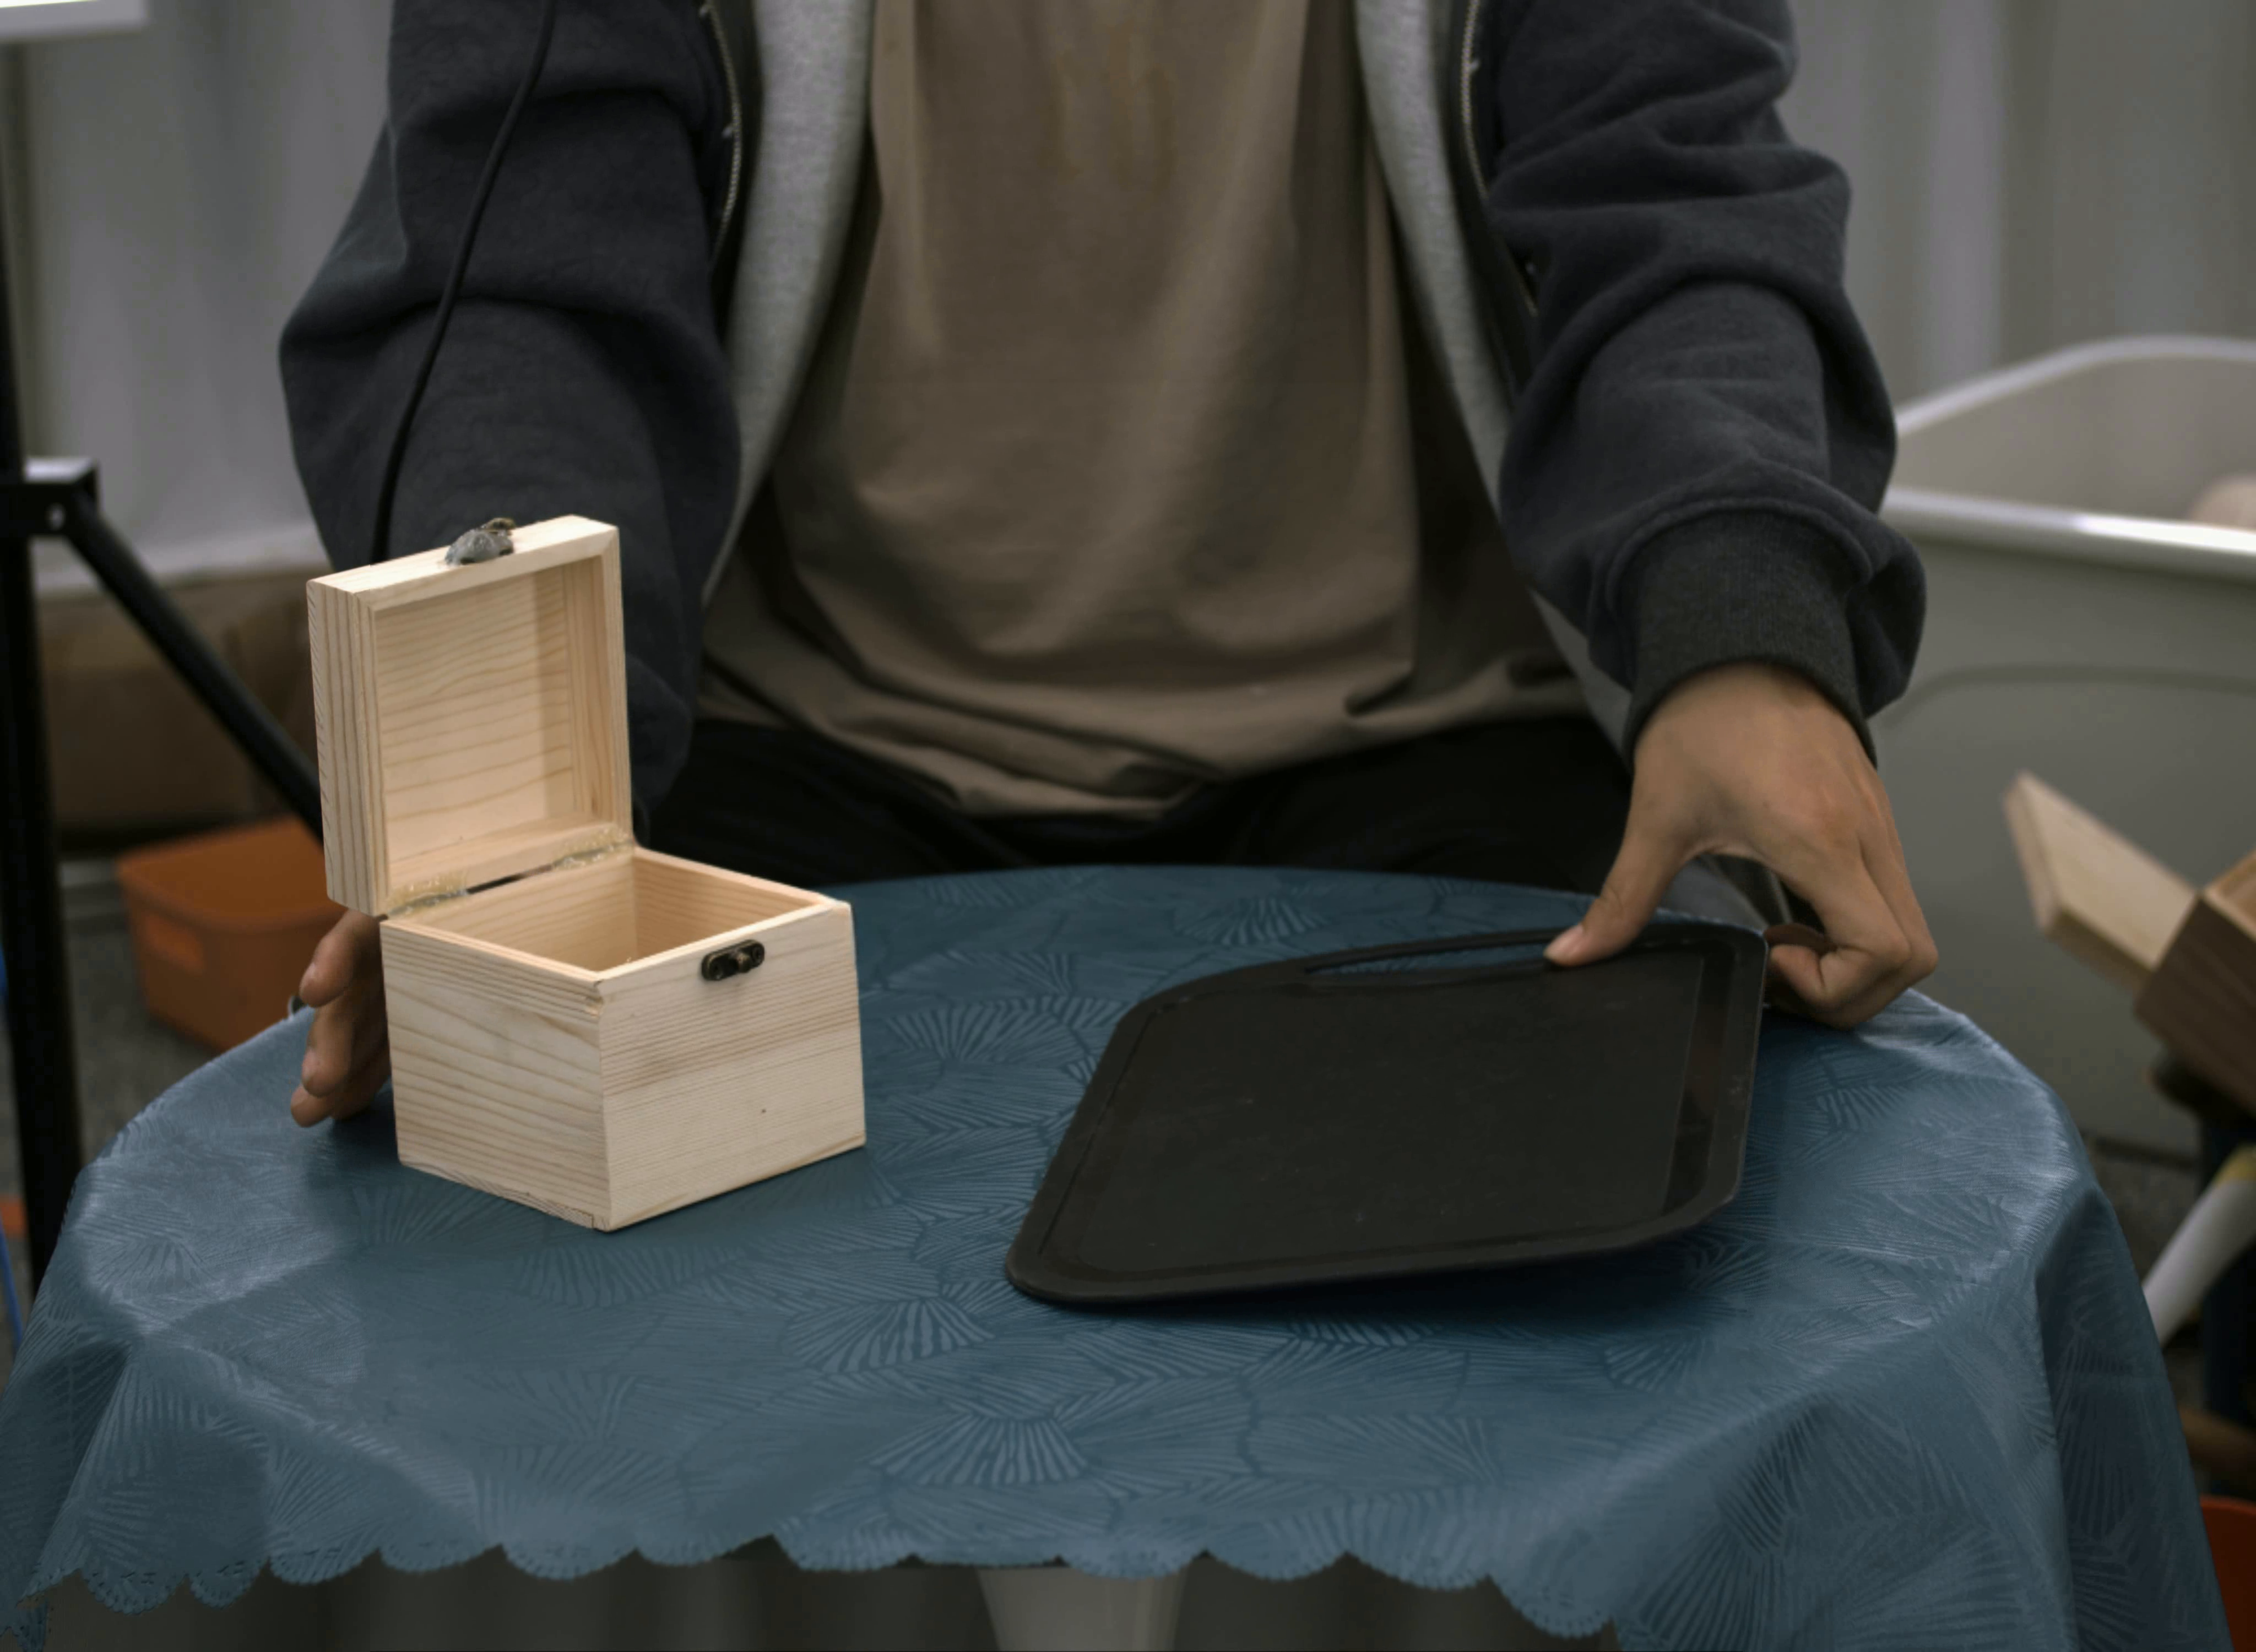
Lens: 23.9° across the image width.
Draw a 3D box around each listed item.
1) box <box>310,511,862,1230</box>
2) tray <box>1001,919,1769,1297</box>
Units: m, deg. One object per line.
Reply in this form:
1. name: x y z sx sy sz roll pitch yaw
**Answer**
1. box: -0.160 0.009 1.597 0.100 0.184 0.137 -17 20 -42
2. tray: 0.084 0.078 1.597 0.212 0.010 0.324 -7 15 12
